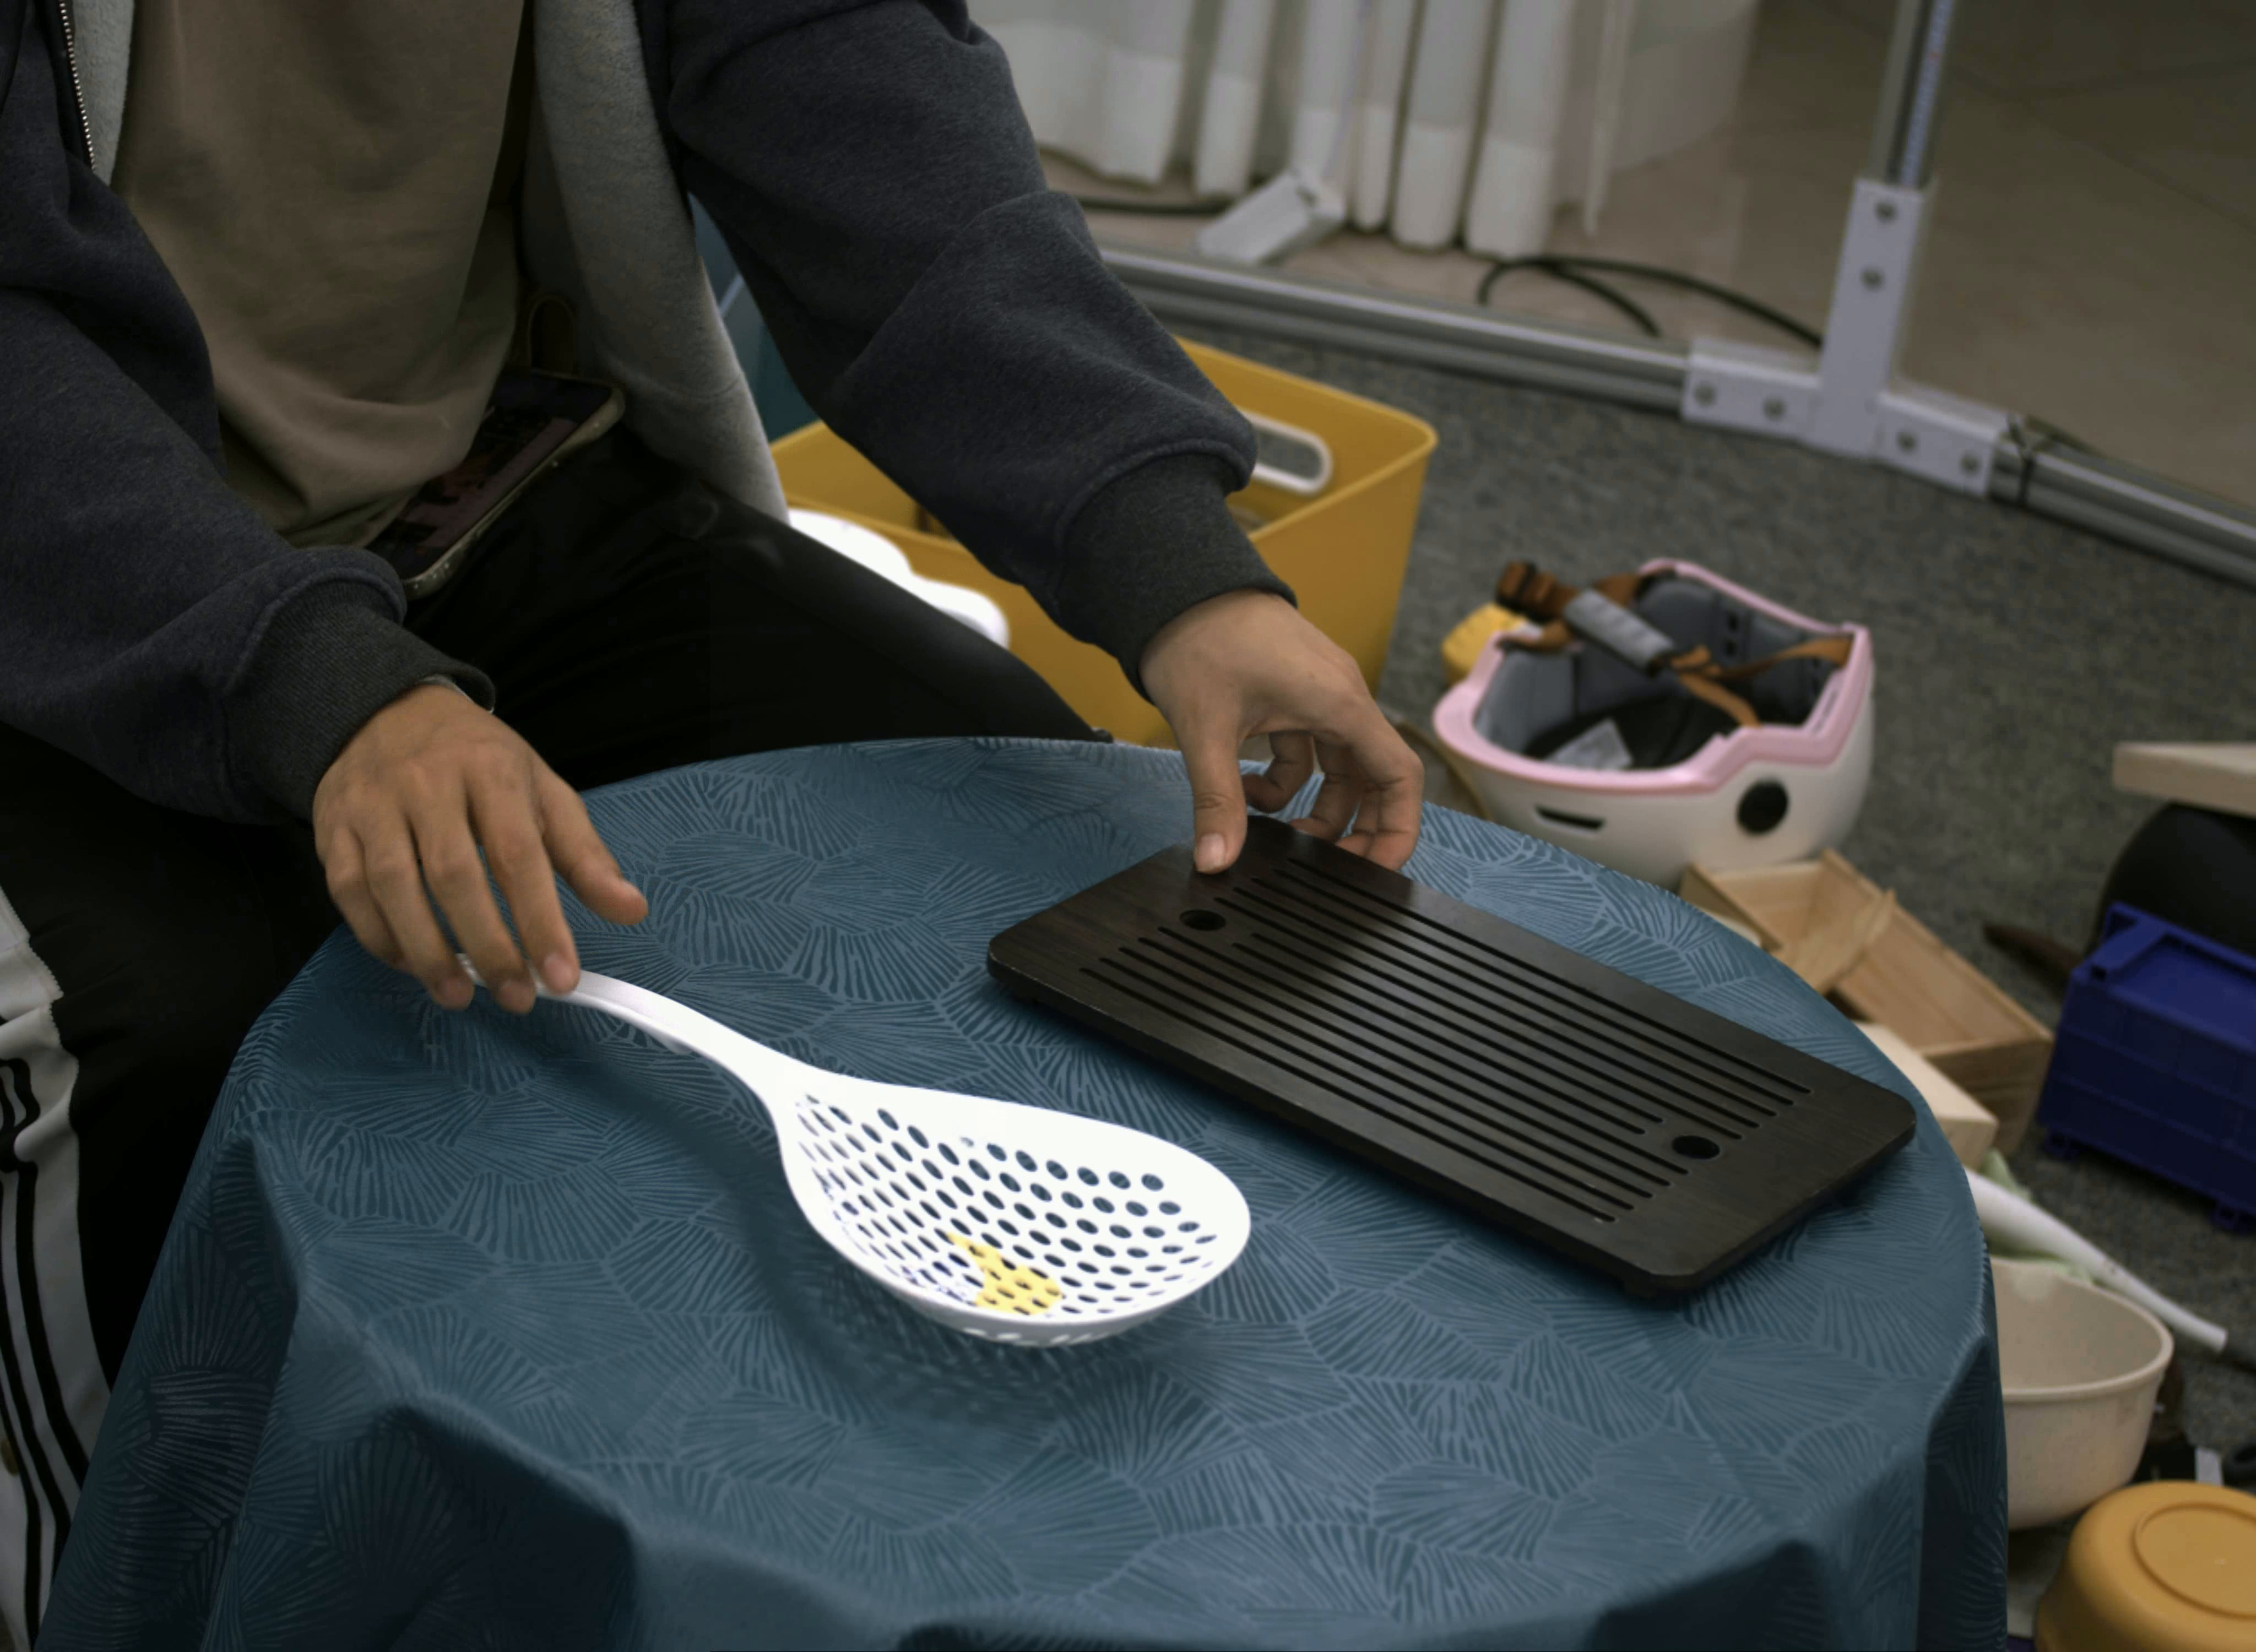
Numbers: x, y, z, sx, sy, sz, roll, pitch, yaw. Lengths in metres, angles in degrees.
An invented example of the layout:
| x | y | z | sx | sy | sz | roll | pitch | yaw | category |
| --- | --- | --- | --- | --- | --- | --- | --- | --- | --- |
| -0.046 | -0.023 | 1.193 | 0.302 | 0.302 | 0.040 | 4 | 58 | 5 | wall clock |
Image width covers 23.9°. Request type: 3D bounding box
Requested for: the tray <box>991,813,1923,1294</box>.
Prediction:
| x | y | z | sx | sy | sz | roll | pitch | yaw | category |
| --- | --- | --- | --- | --- | --- | --- | --- | --- | --- |
| 0.115 | 0.078 | 1.897 | 0.308 | 0.018 | 0.169 | 24 | 32 | 31 | tray |

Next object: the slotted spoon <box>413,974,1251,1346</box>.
| x | y | z | sx | sy | sz | roll | pitch | yaw | category |
| --- | --- | --- | --- | --- | --- | --- | --- | --- | --- |
| -0.113 | 0.098 | 1.781 | 0.350 | 0.050 | 0.136 | 27 | 35 | 34 | slotted spoon |
